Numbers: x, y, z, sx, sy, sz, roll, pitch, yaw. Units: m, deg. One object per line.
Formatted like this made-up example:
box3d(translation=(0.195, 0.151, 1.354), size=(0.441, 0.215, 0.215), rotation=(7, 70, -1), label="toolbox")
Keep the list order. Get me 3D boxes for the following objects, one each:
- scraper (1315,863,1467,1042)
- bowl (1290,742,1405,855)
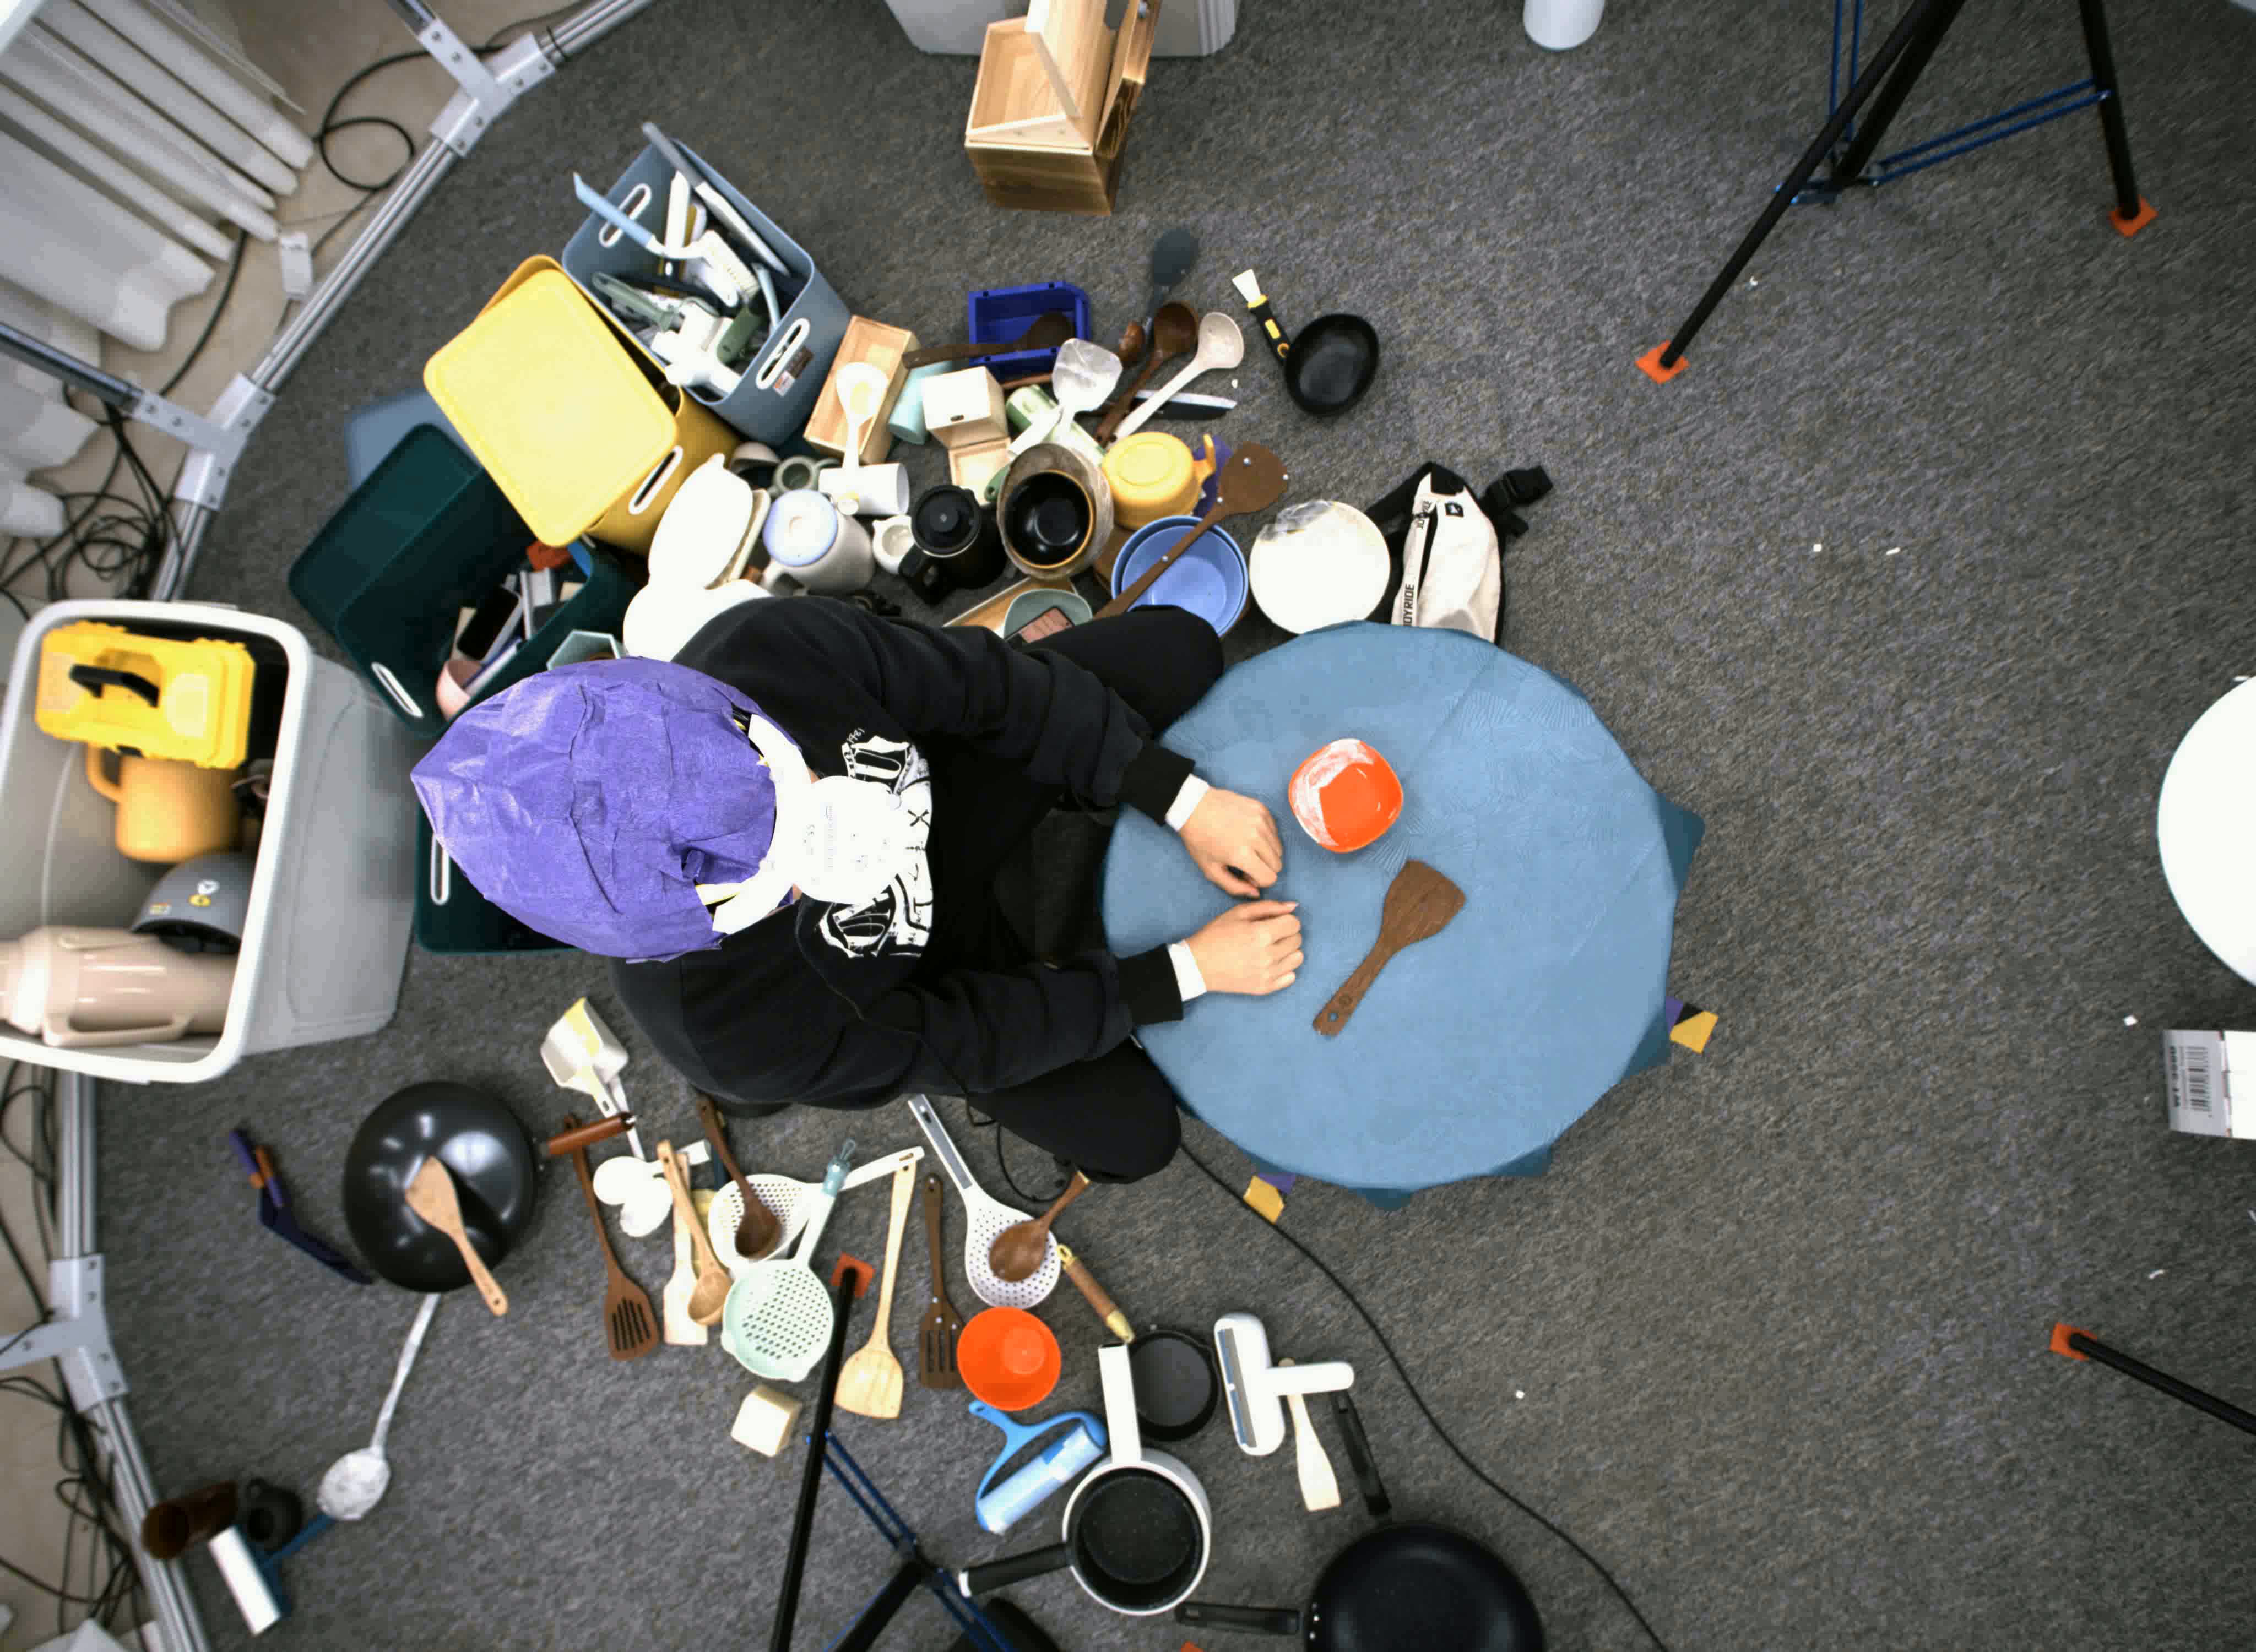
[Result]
box3d(translation=(0.268, 0.137, 1.457), size=(0.075, 0.011, 0.212), rotation=(38, 94, 12), label="scraper")
box3d(translation=(0.230, -0.028, 1.453), size=(0.119, 0.051, 0.118), rotation=(-1, 86, 8), label="bowl")
